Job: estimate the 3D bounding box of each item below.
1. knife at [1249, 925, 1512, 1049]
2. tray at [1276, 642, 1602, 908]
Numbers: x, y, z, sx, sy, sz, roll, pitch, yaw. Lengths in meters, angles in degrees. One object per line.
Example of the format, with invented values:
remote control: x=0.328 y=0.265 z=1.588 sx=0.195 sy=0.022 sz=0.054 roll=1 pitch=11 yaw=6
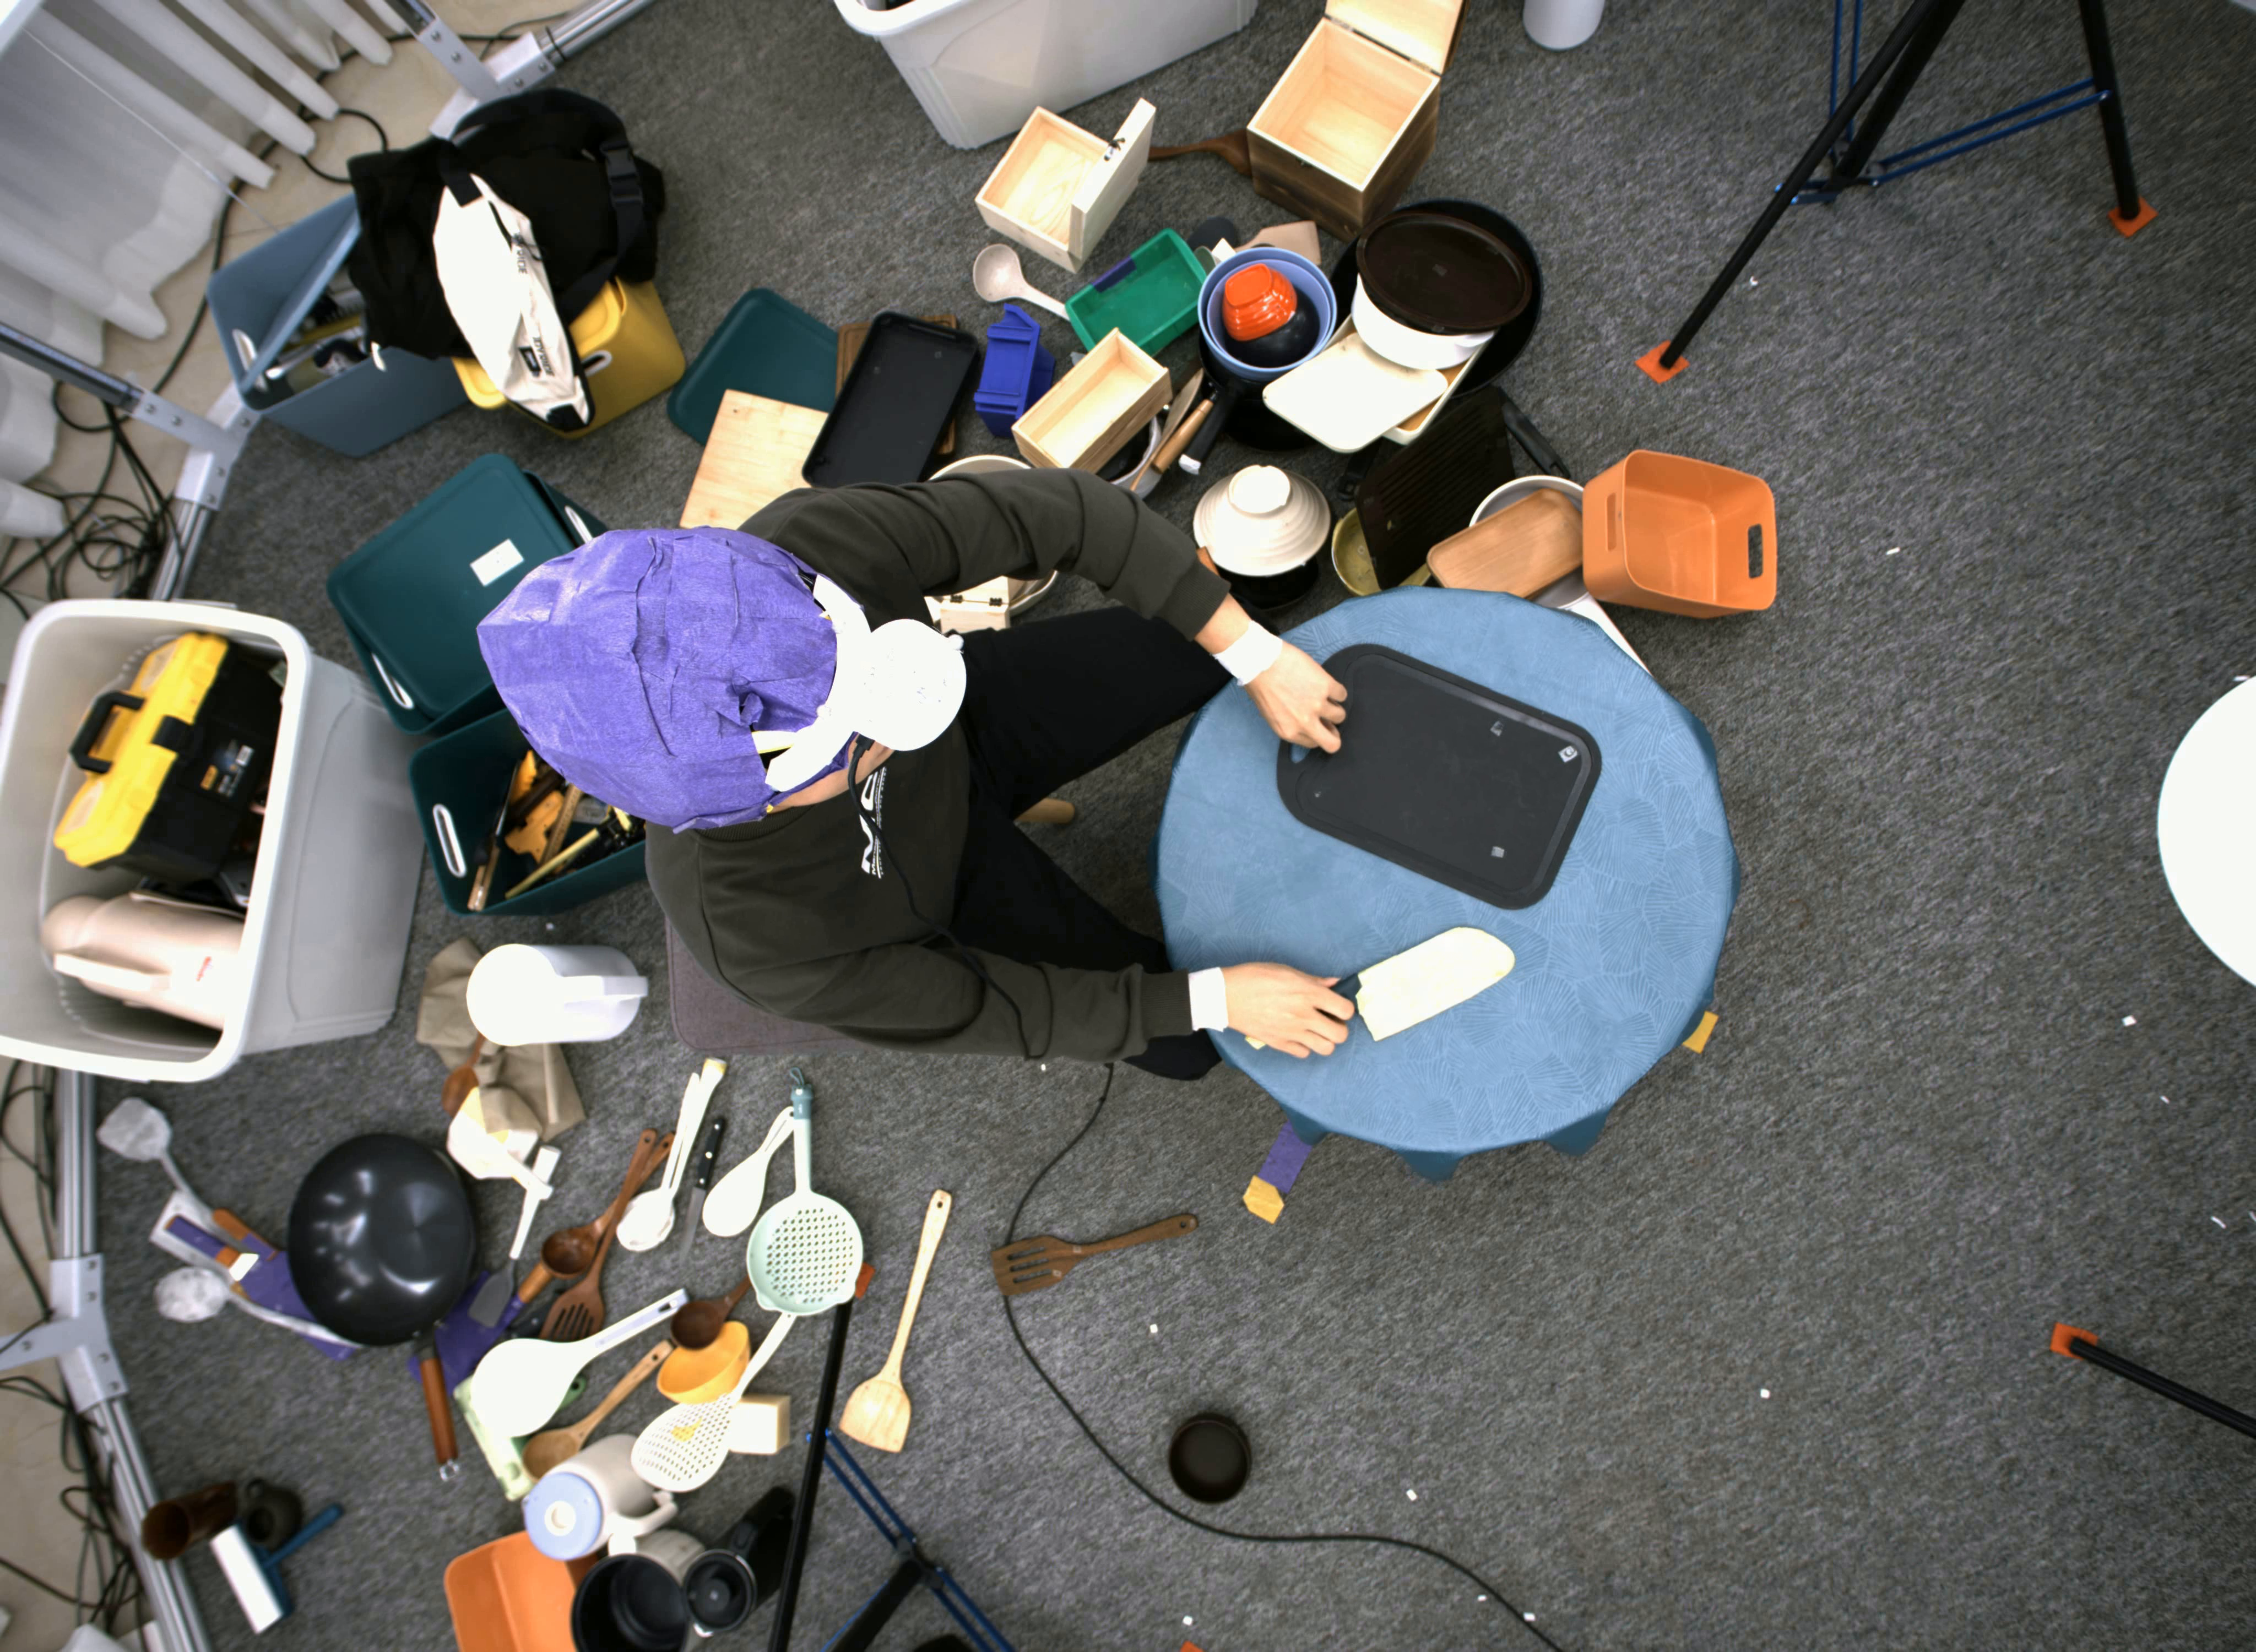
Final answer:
knife: x=0.265 y=0.179 z=1.448 sx=0.291 sy=0.027 sz=0.081 roll=-23 pitch=87 yaw=9
tray: x=0.320 y=-0.061 z=1.452 sx=0.325 sy=0.010 sz=0.211 roll=24 pitch=91 yaw=10
